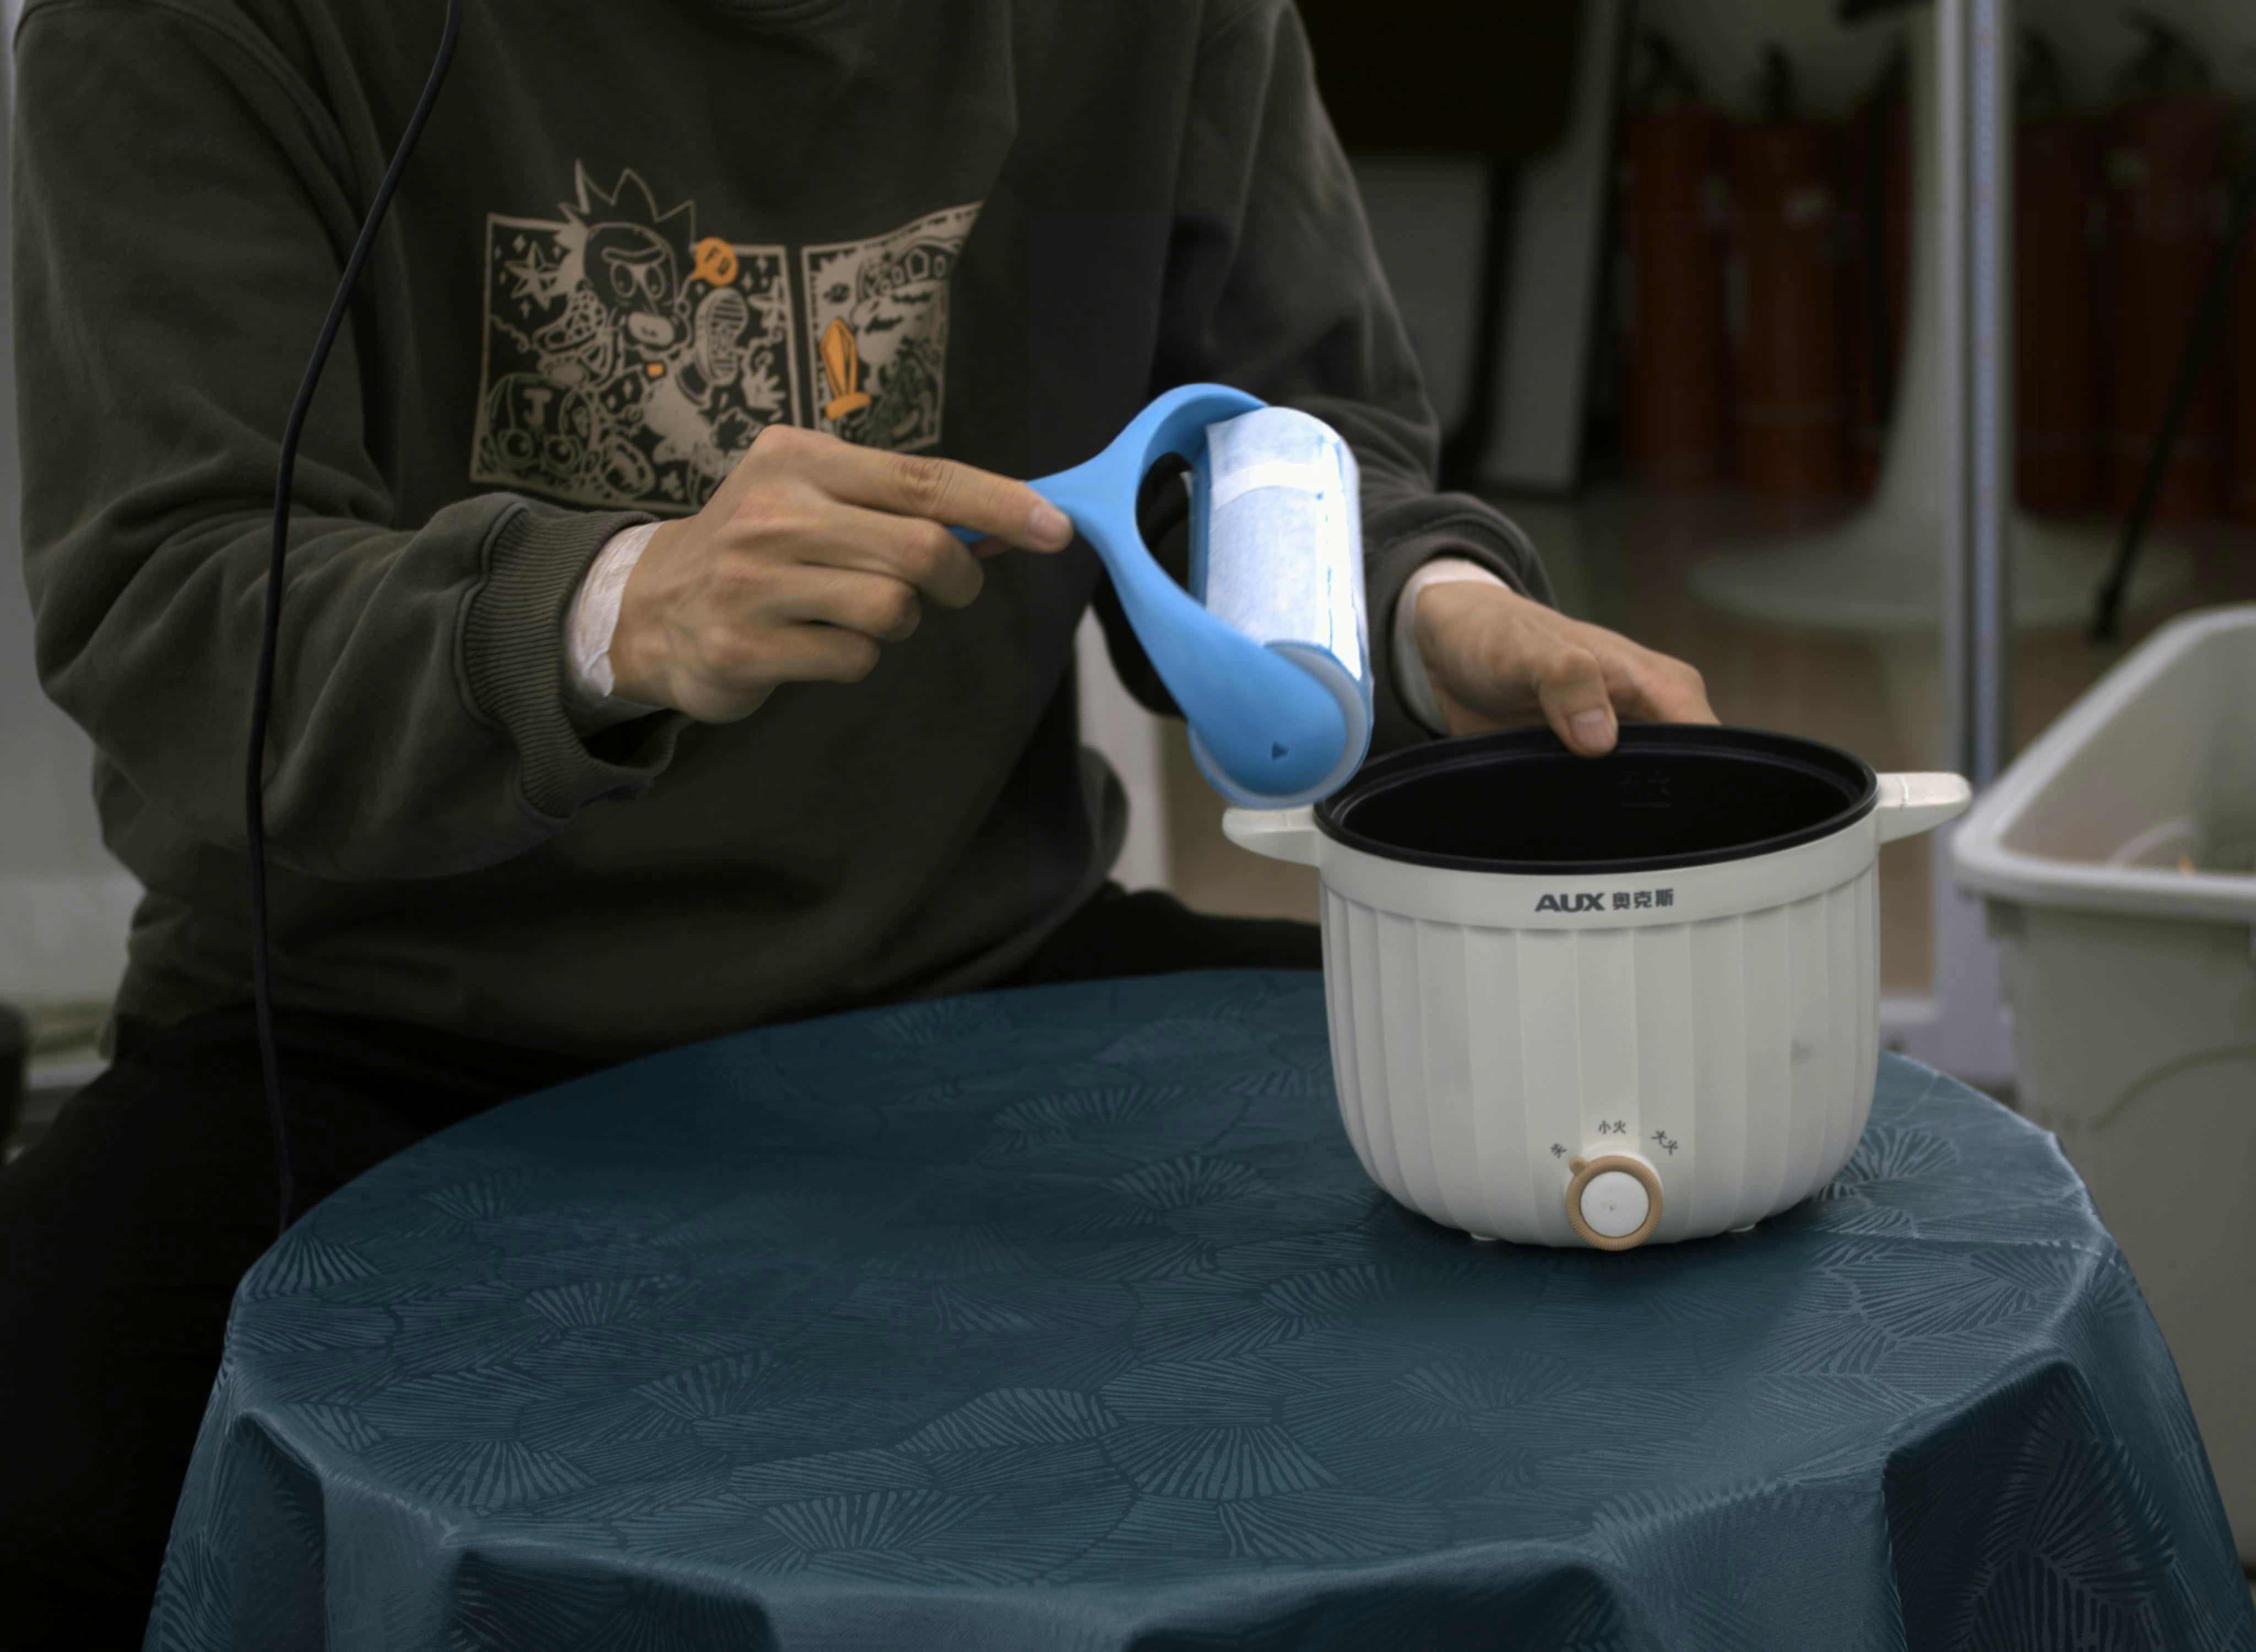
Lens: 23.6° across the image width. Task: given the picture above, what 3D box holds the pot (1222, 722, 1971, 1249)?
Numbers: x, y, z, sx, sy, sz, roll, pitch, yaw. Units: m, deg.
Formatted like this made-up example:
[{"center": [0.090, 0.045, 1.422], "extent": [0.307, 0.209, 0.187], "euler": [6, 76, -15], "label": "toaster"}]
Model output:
[{"center": [0.153, 0.053, 1.715], "extent": [0.238, 0.144, 0.190], "euler": [-4, 10, 5], "label": "pot"}]

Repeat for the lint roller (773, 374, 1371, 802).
[{"center": [-0.016, -0.076, 1.615], "extent": [0.177, 0.068, 0.230], "euler": [4, 26, -3], "label": "lint roller"}]
